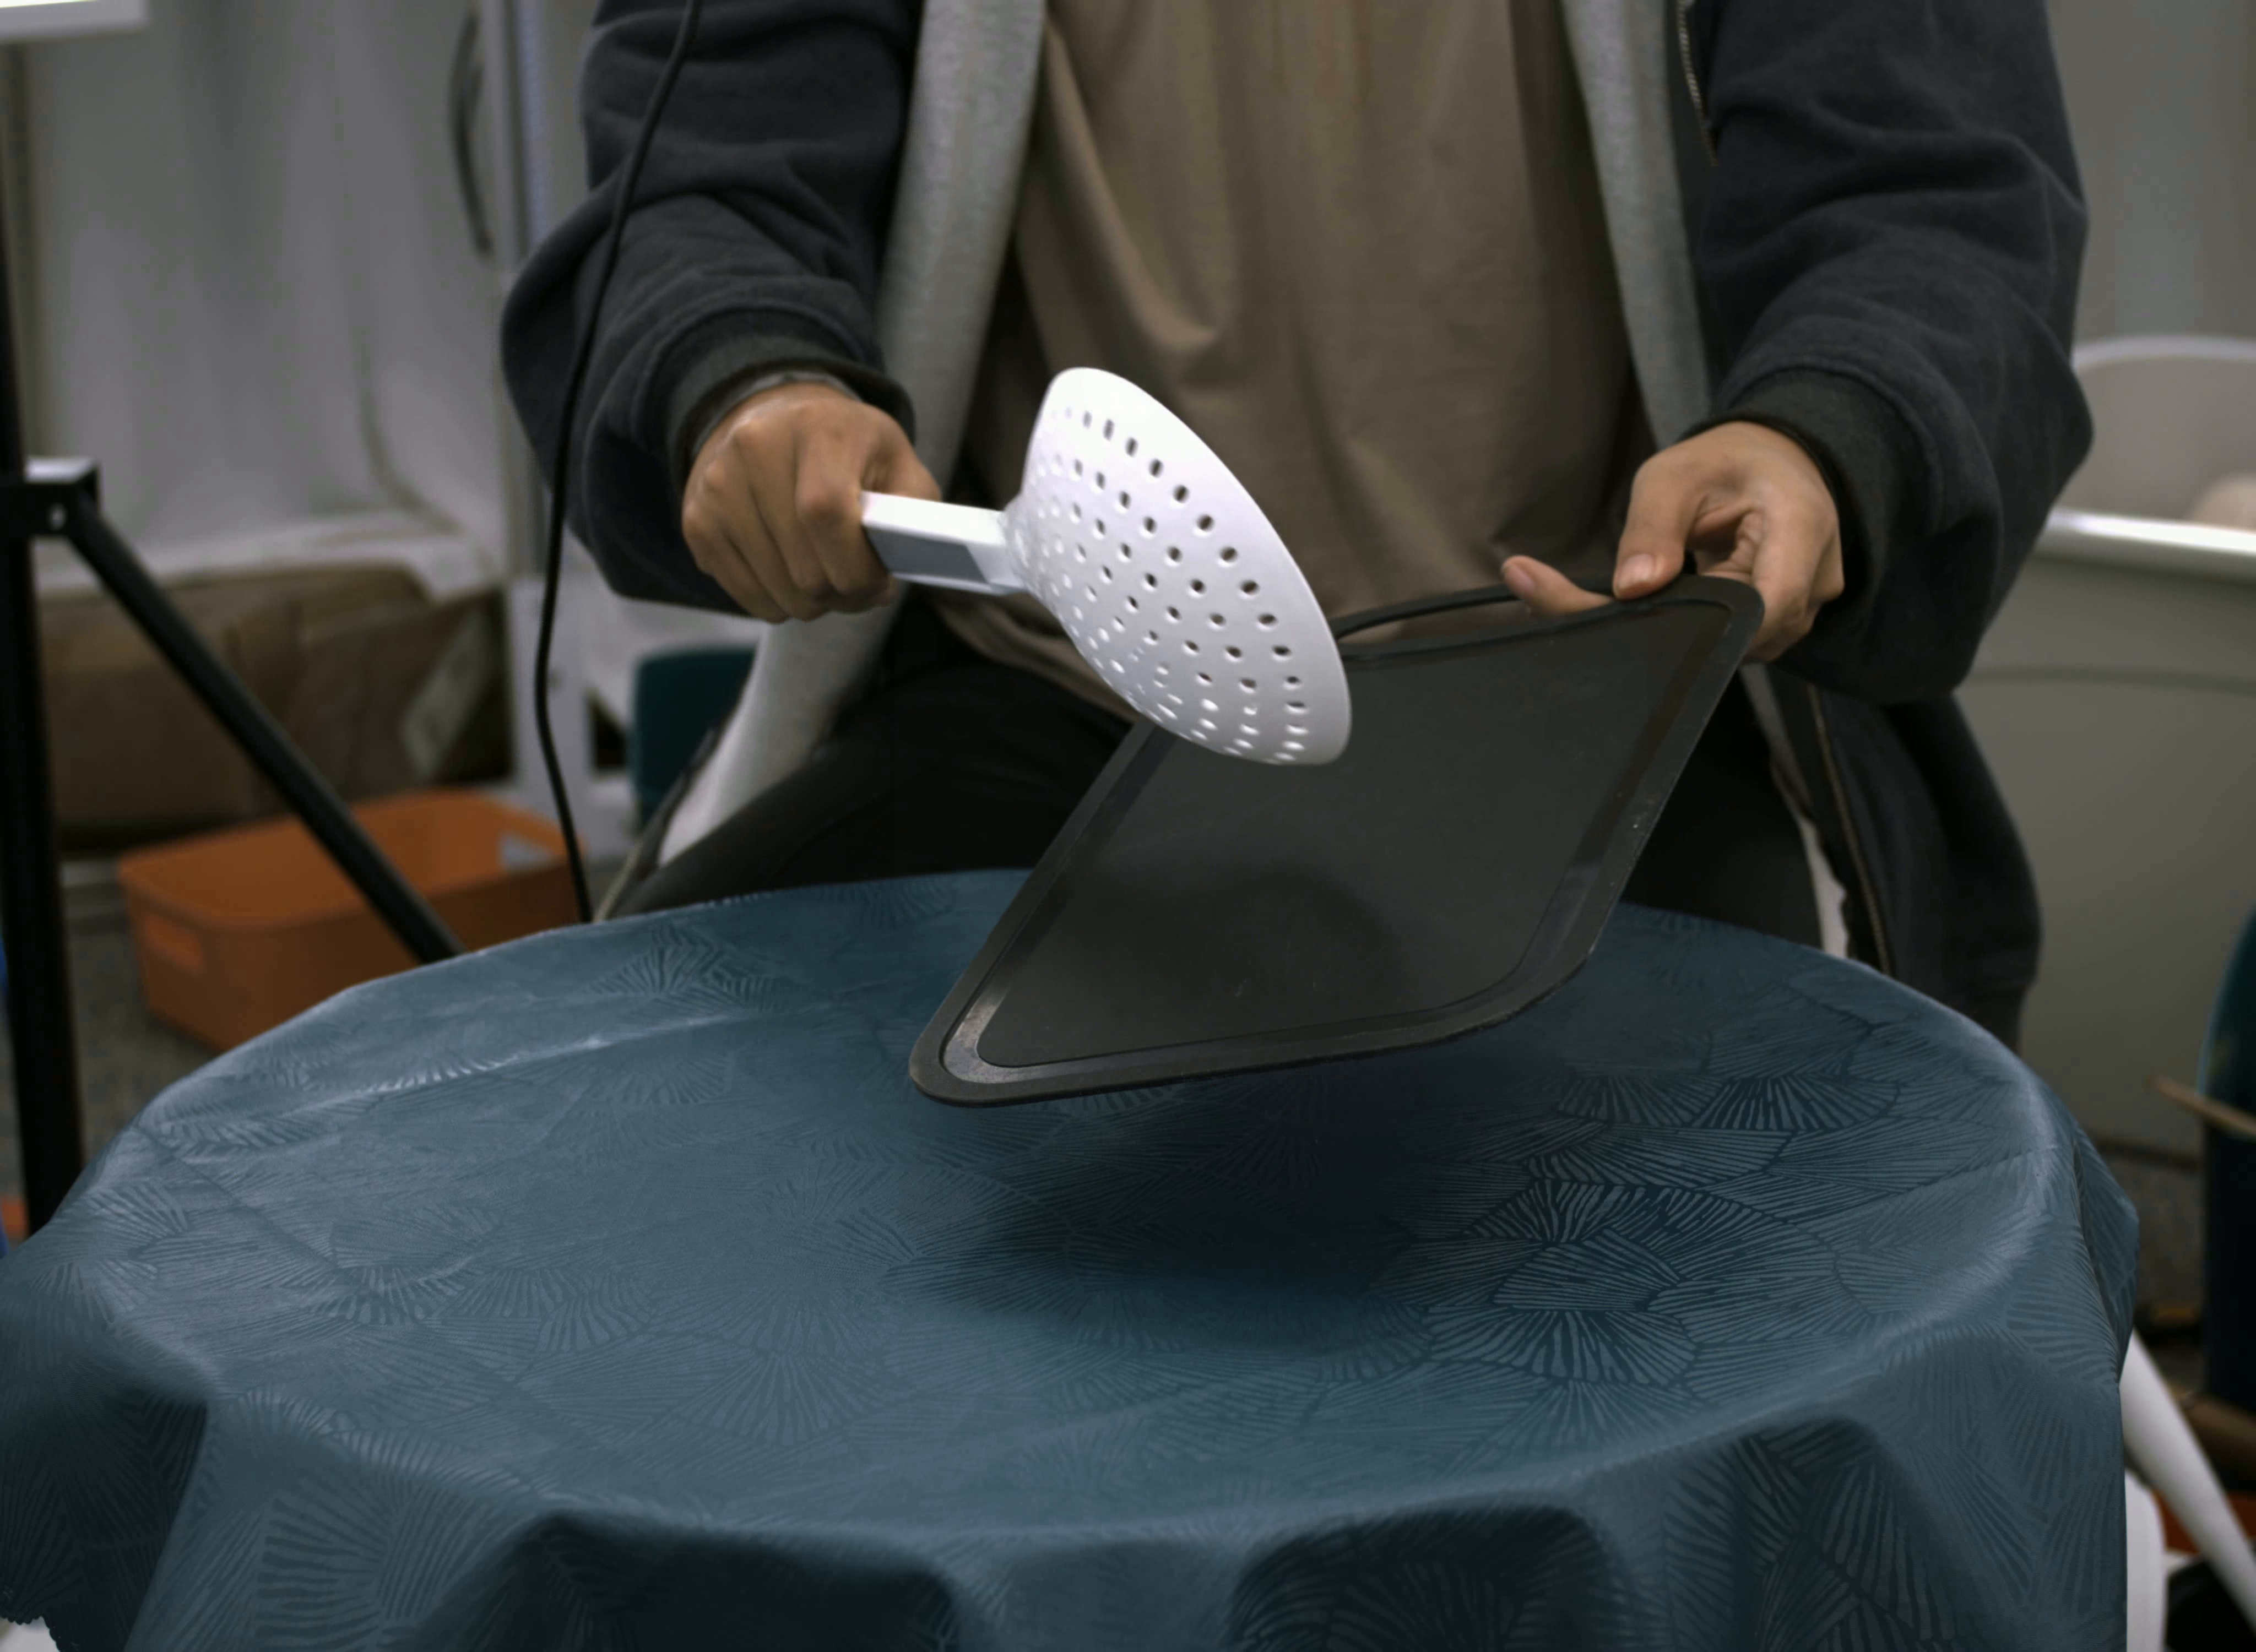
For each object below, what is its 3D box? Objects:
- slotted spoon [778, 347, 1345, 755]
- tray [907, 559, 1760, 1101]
[{"bbox_3d":[-0.034,-0.087,1.640,0.045,0.135,0.356,-32,18,-14],"label":"slotted spoon"},{"bbox_3d":[0.068,-0.007,1.591,0.214,0.010,0.323,-9,24,26],"label":"tray"}]
